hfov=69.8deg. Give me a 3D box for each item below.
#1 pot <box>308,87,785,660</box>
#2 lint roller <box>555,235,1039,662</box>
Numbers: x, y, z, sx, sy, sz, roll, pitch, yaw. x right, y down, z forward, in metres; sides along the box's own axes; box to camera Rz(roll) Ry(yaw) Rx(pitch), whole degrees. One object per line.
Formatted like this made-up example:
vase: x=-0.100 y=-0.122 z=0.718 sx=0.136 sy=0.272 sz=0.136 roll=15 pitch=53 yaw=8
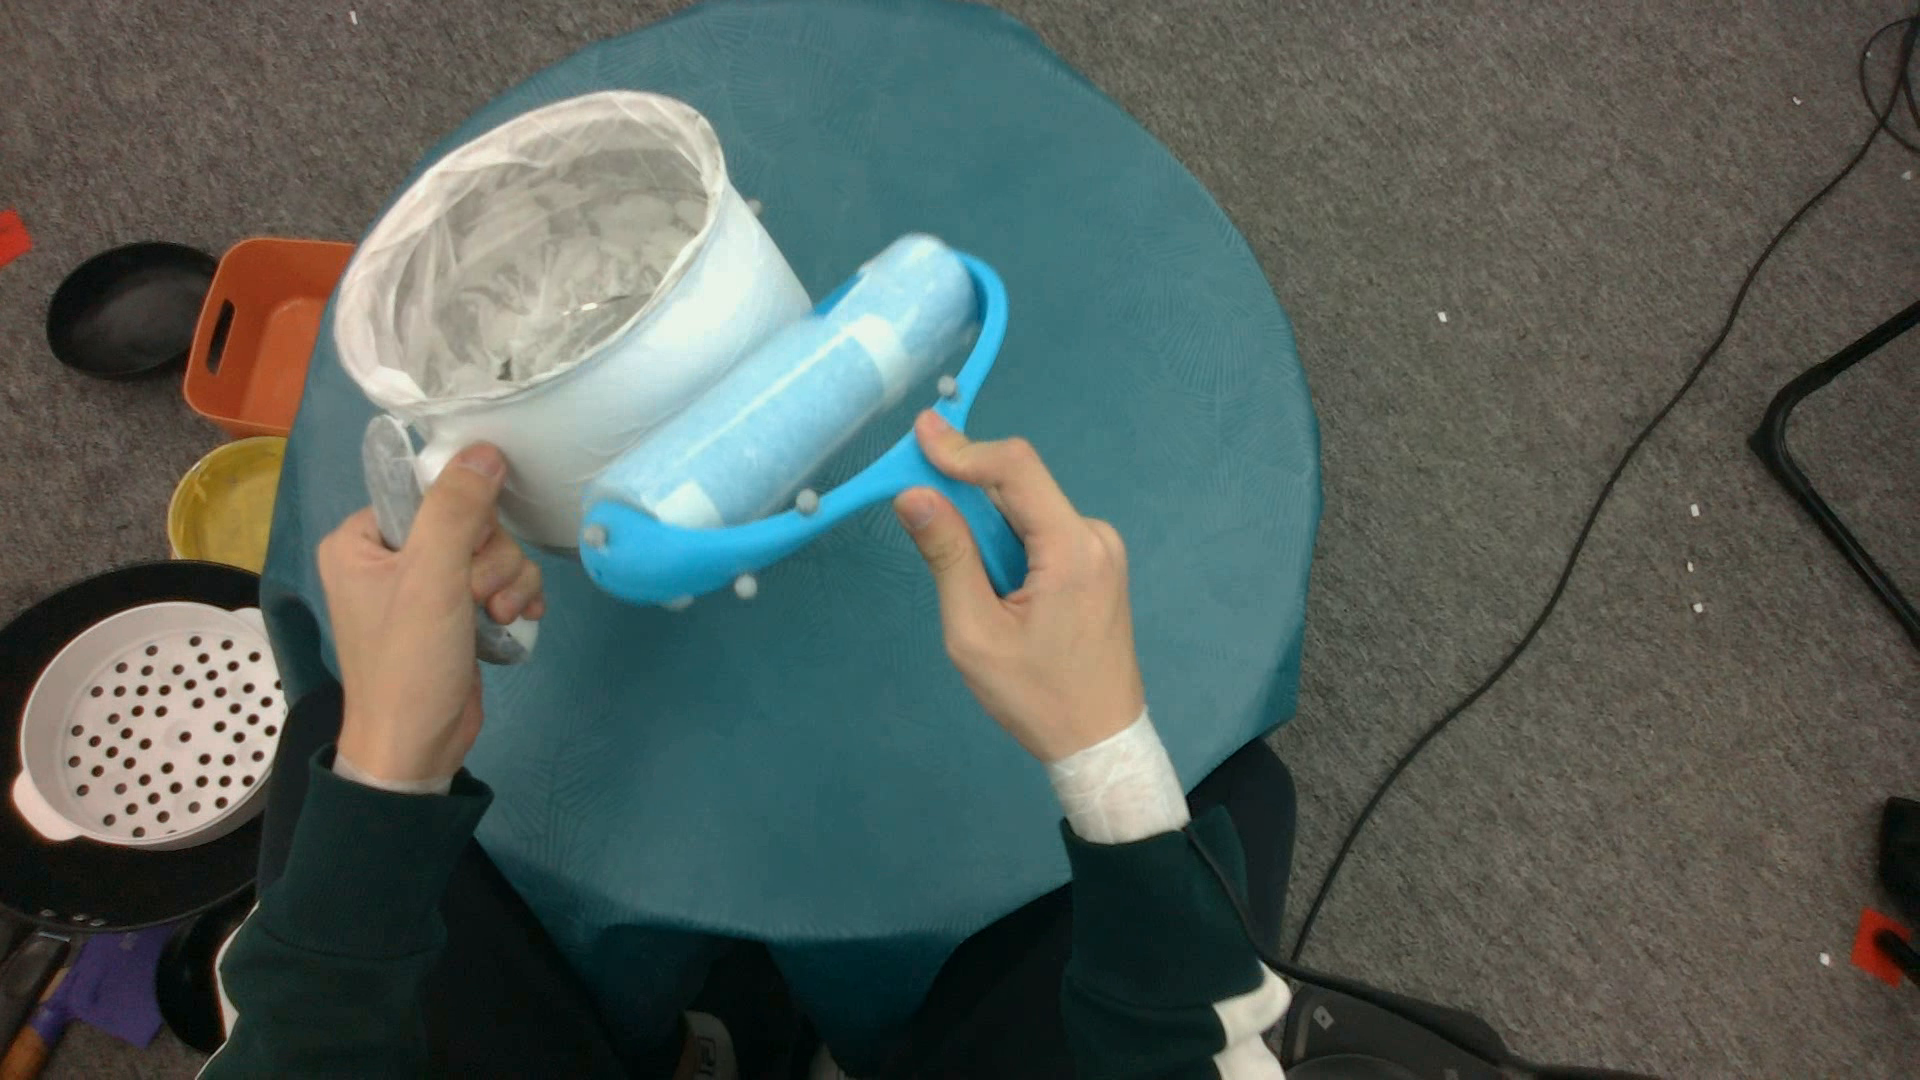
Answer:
pot: x=-0.181 y=-0.069 z=0.601 sx=0.178 sy=0.136 sz=0.235 roll=9 pitch=60 yaw=26
lint roller: x=-0.031 y=-0.023 z=0.561 sx=0.180 sy=0.067 sz=0.230 roll=35 pitch=49 yaw=1
